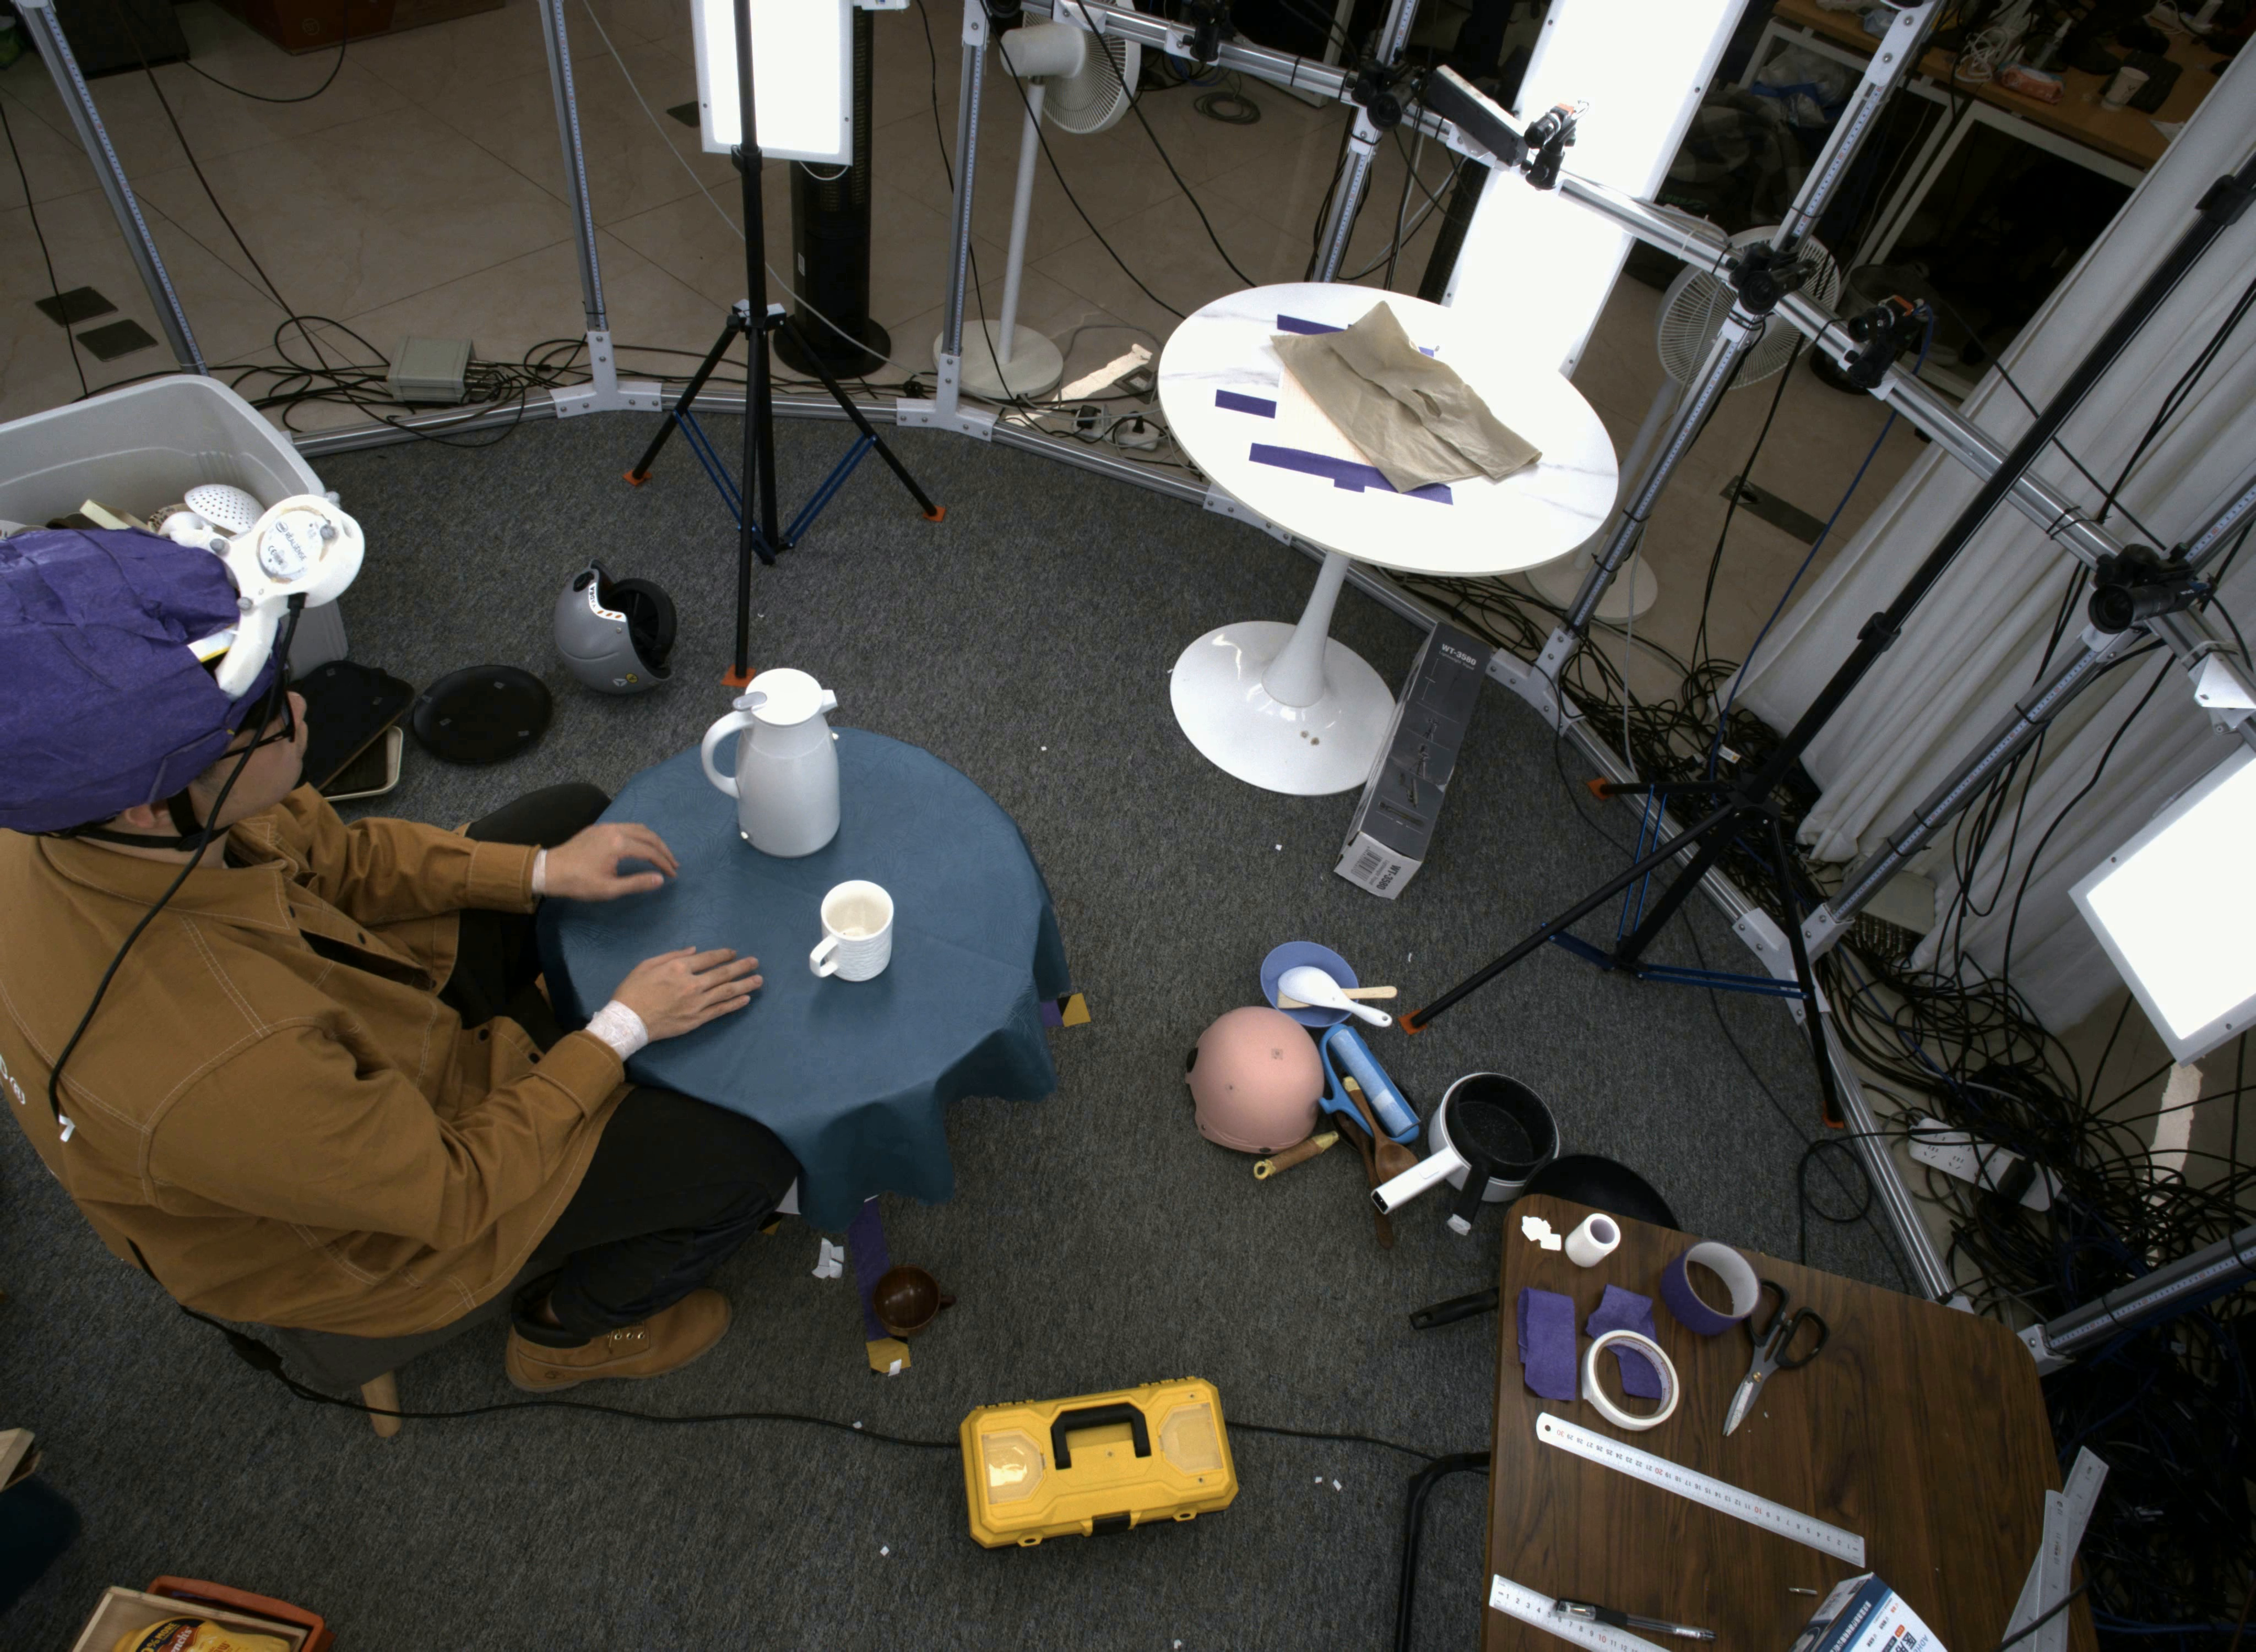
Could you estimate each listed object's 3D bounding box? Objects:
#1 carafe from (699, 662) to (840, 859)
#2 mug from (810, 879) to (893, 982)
[{"bbox_3d":[-0.447,-0.083,1.616,0.168,0.254,0.129,-15,57,-22],"label":"carafe"},{"bbox_3d":[-0.339,0.137,1.574,0.083,0.104,0.118,33,53,13],"label":"mug"}]
